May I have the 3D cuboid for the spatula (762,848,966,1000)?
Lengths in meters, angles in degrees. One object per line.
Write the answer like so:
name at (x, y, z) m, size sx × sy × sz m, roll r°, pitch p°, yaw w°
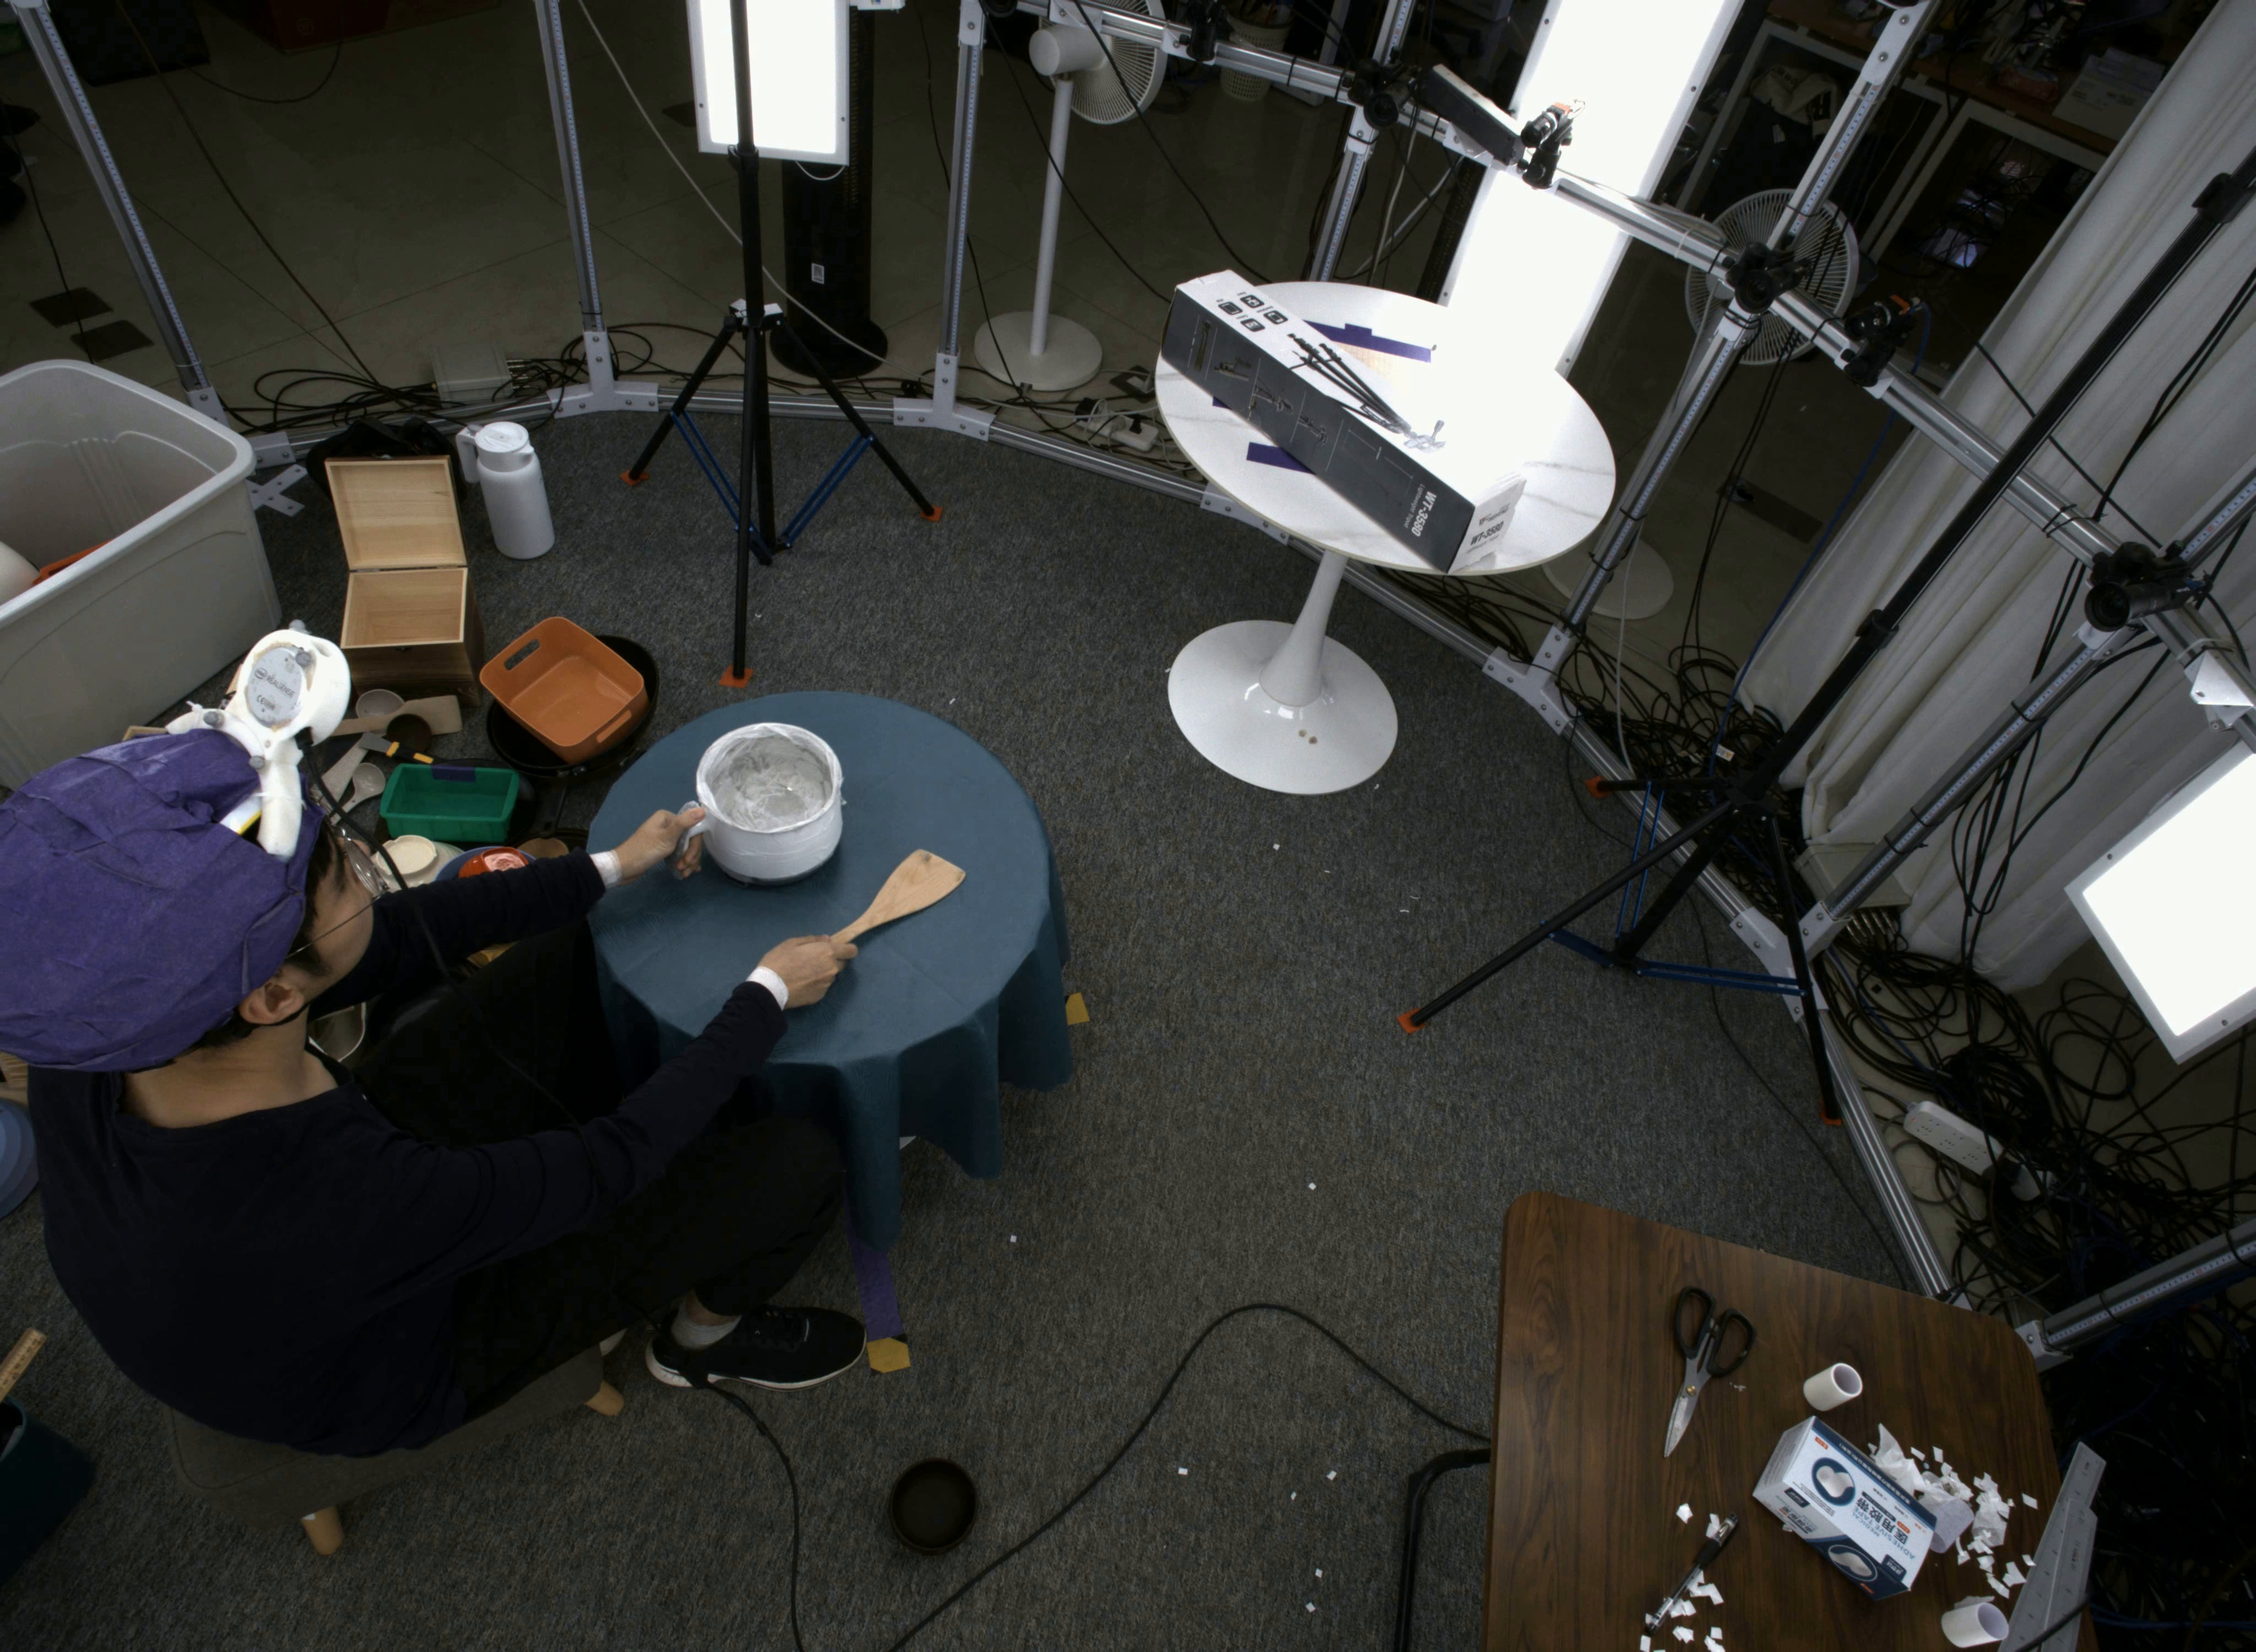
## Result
spatula at (-0.336, 0.120, 1.639) m, size 0.078 × 0.017 × 0.328 m, roll 36°, pitch 44°, yaw 15°

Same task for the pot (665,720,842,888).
pot at (-0.477, -0.016, 1.641) m, size 0.235 × 0.139 × 0.174 m, roll -27°, pitch 62°, yaw -31°
